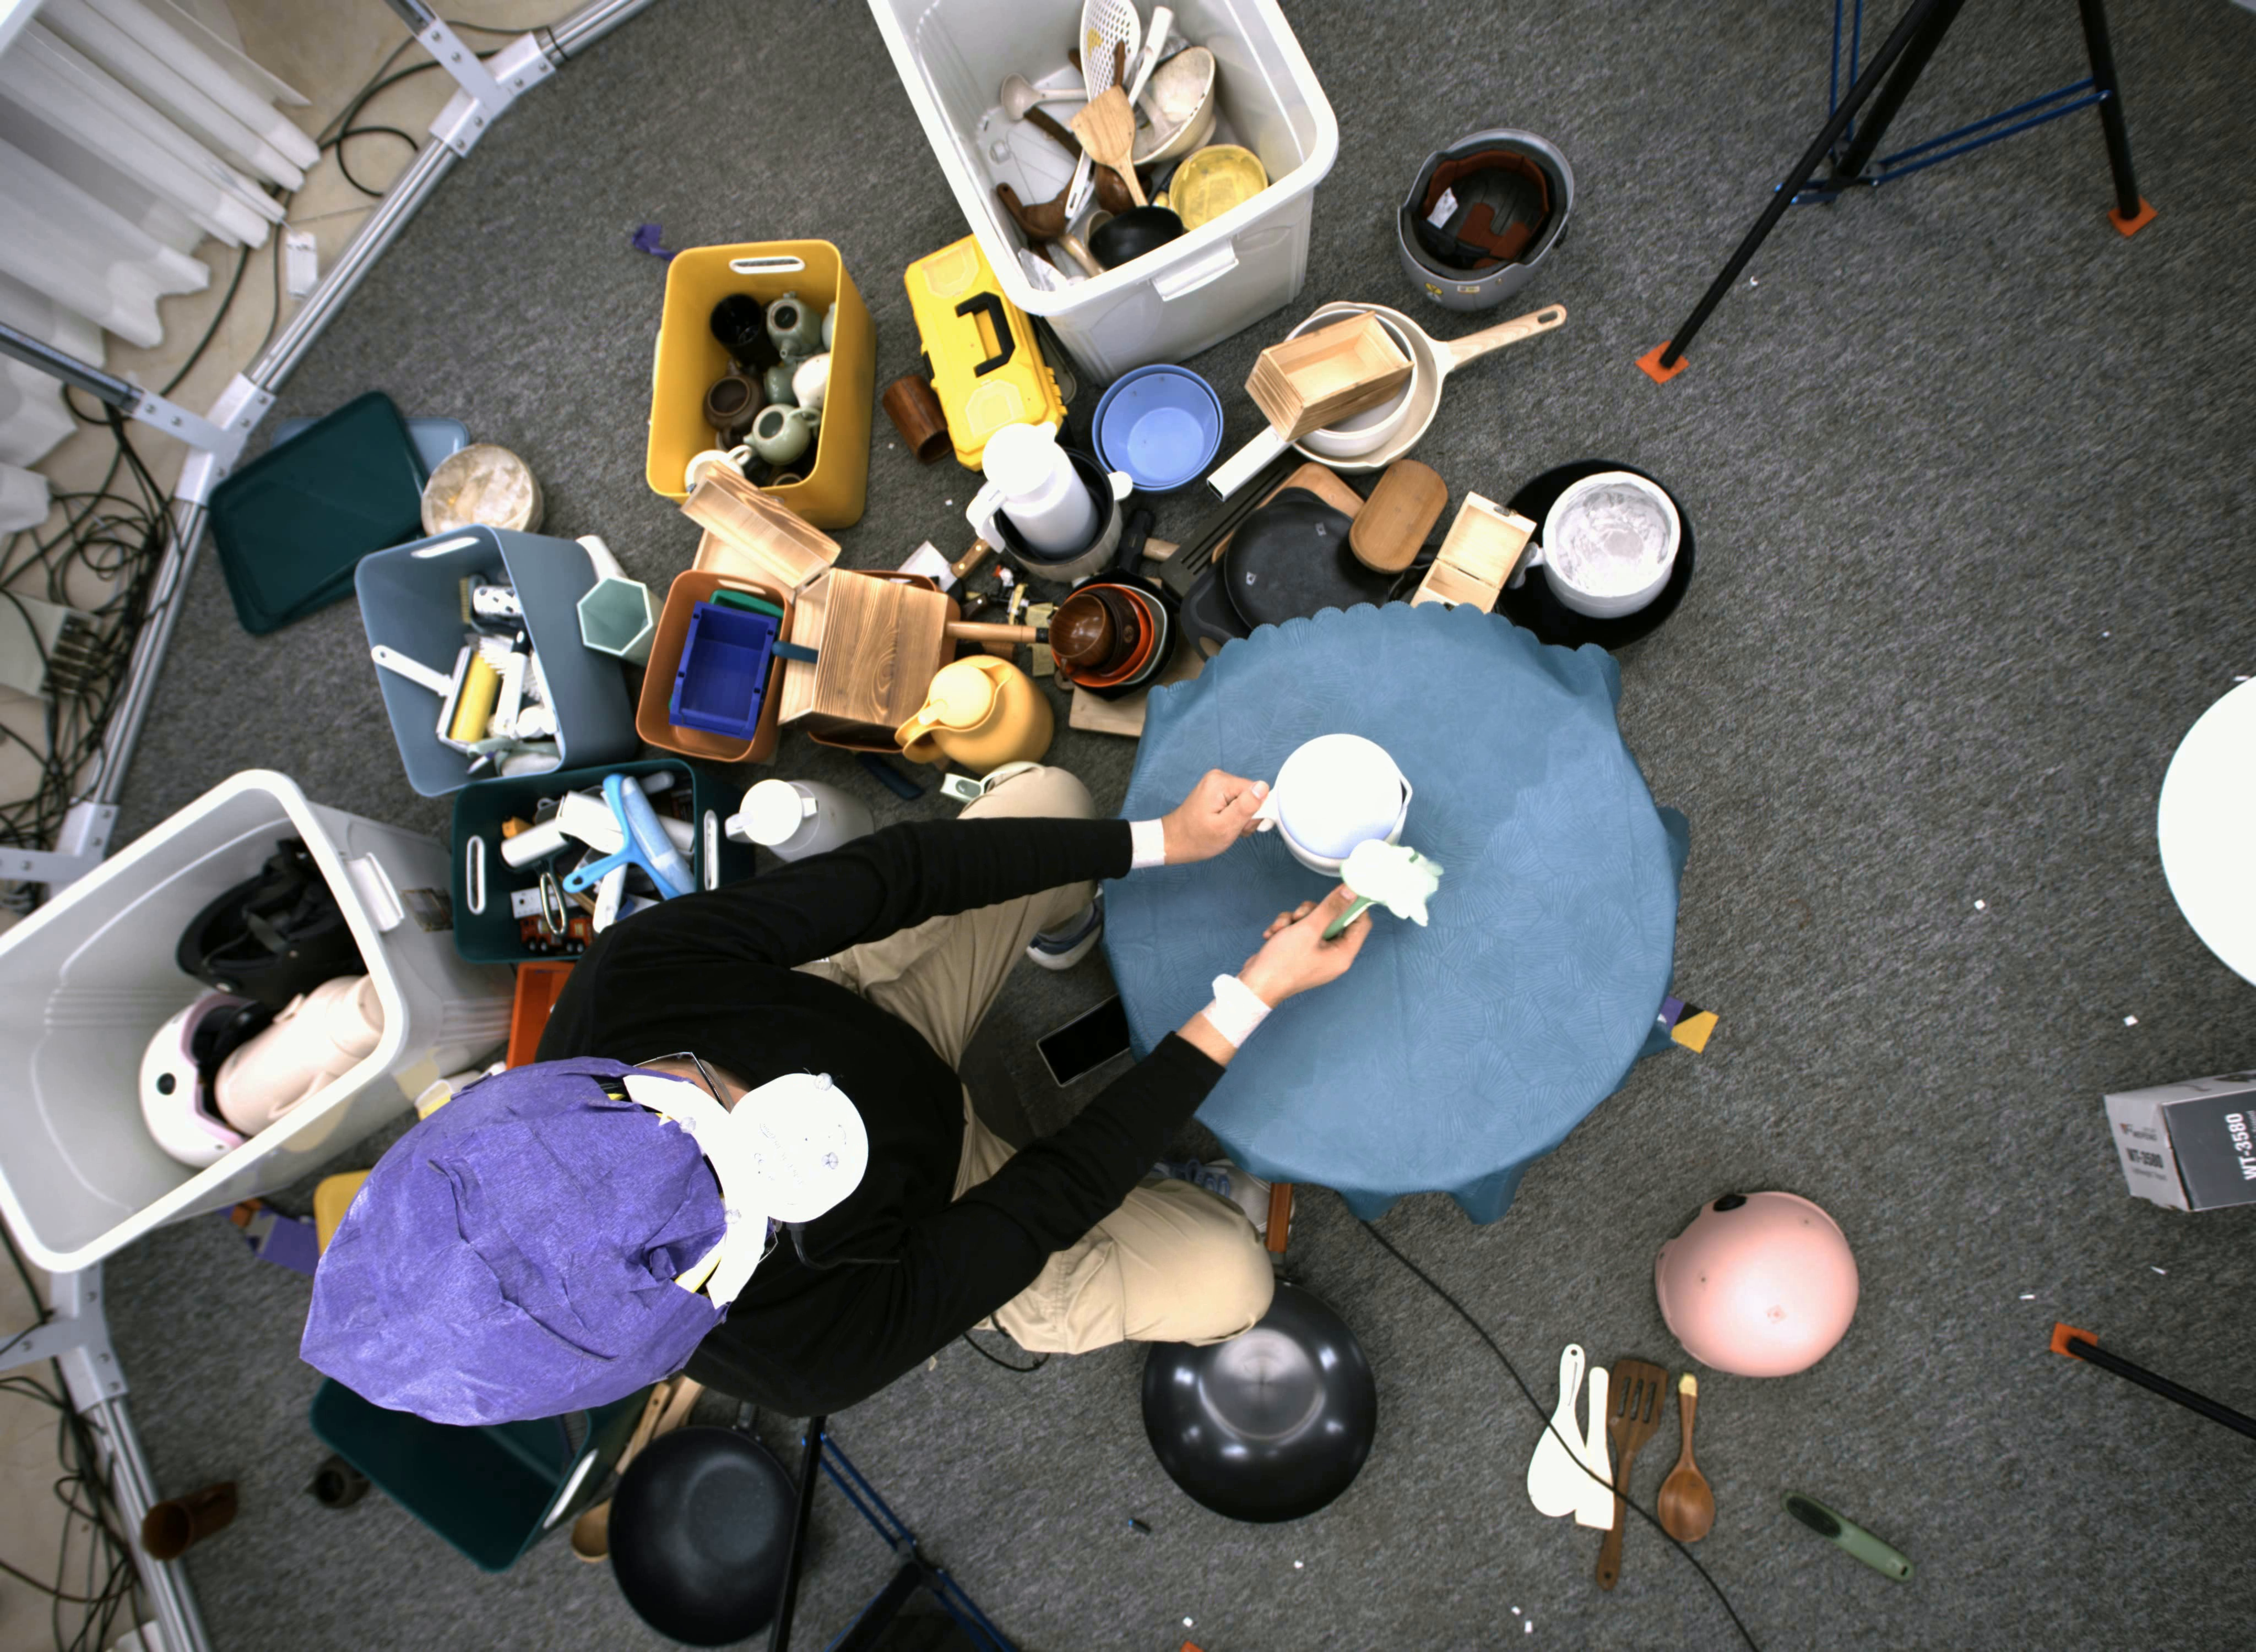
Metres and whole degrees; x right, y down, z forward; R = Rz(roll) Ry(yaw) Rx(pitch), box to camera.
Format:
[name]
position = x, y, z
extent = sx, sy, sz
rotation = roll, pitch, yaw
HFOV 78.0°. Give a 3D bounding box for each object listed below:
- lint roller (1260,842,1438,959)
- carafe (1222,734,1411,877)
[lint roller]
position = 0.217, 0.090, 1.342
extent = 0.185, 0.198, 0.081
rotation = -42, 73, 13
[carafe]
position = 0.189, -0.018, 1.392
extent = 0.192, 0.183, 0.131
rotation = -6, 84, 11
